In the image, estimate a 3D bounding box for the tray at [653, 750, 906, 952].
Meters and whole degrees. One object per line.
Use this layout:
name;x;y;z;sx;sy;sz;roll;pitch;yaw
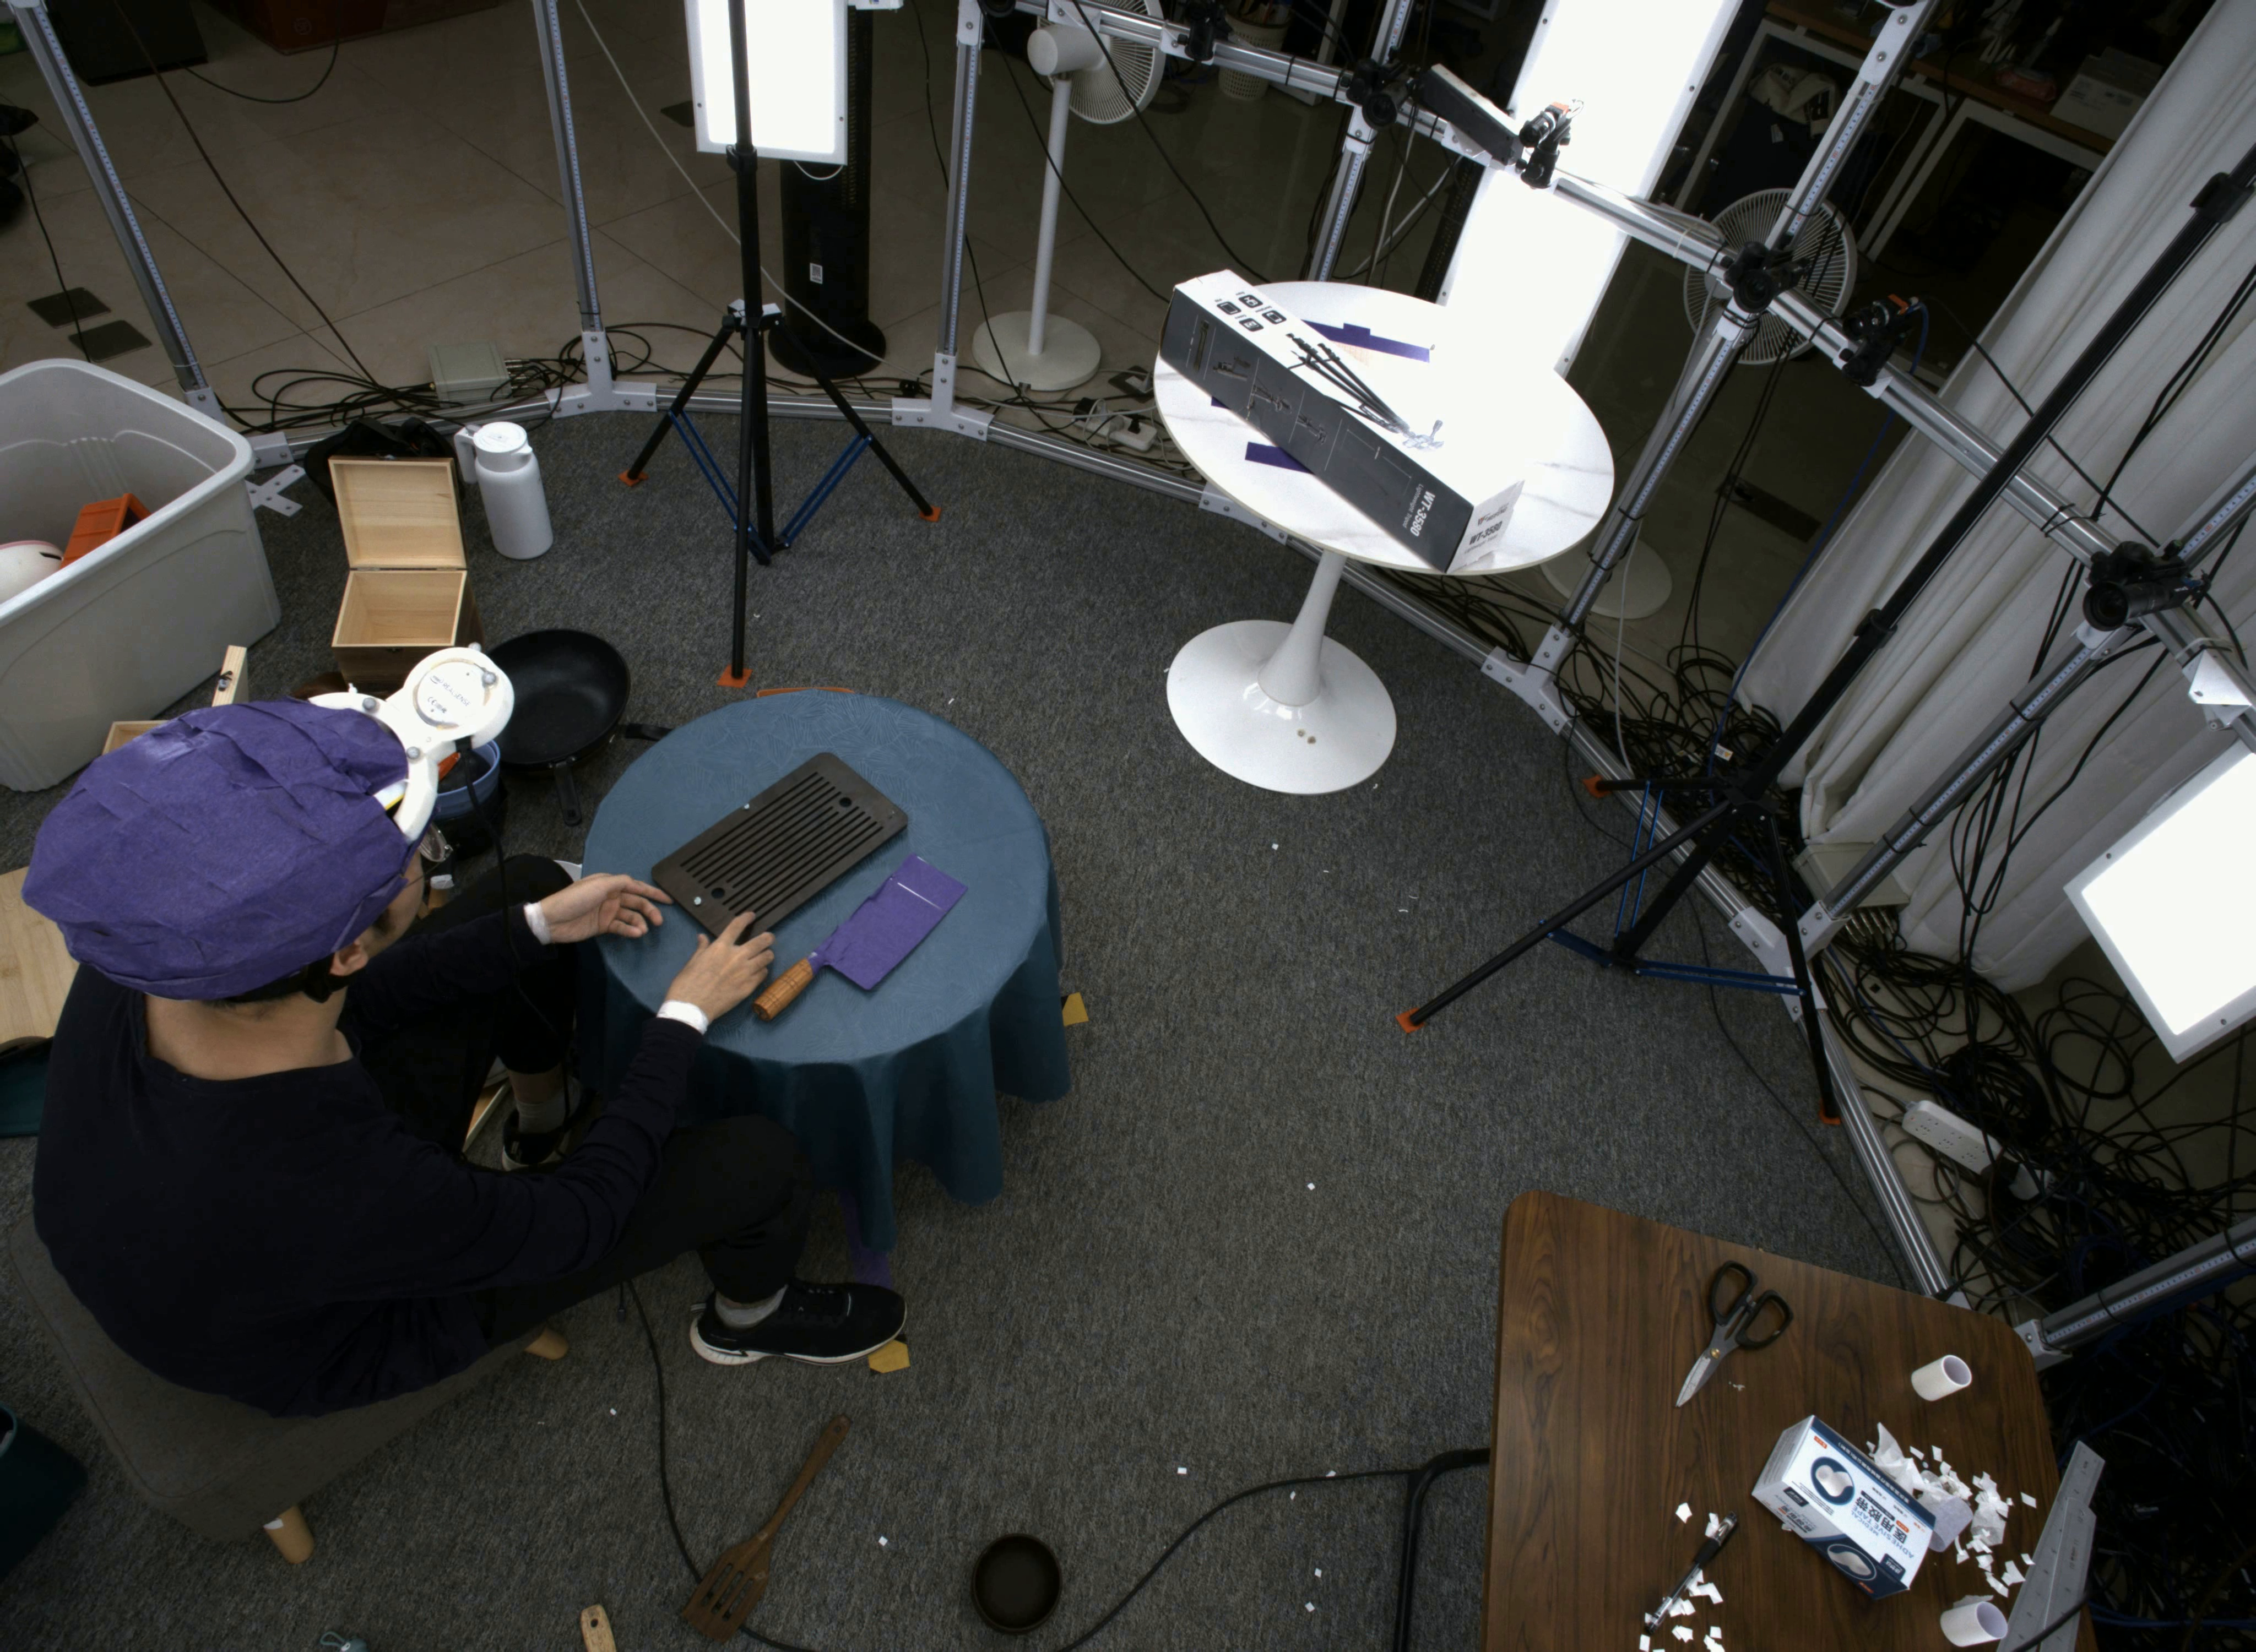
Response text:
tray;-0.452;0.026;1.697;0.167;0.019;0.306;38;55;14

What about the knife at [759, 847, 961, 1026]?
knife;-0.327;0.144;1.636;0.102;0.033;0.314;31;52;10
